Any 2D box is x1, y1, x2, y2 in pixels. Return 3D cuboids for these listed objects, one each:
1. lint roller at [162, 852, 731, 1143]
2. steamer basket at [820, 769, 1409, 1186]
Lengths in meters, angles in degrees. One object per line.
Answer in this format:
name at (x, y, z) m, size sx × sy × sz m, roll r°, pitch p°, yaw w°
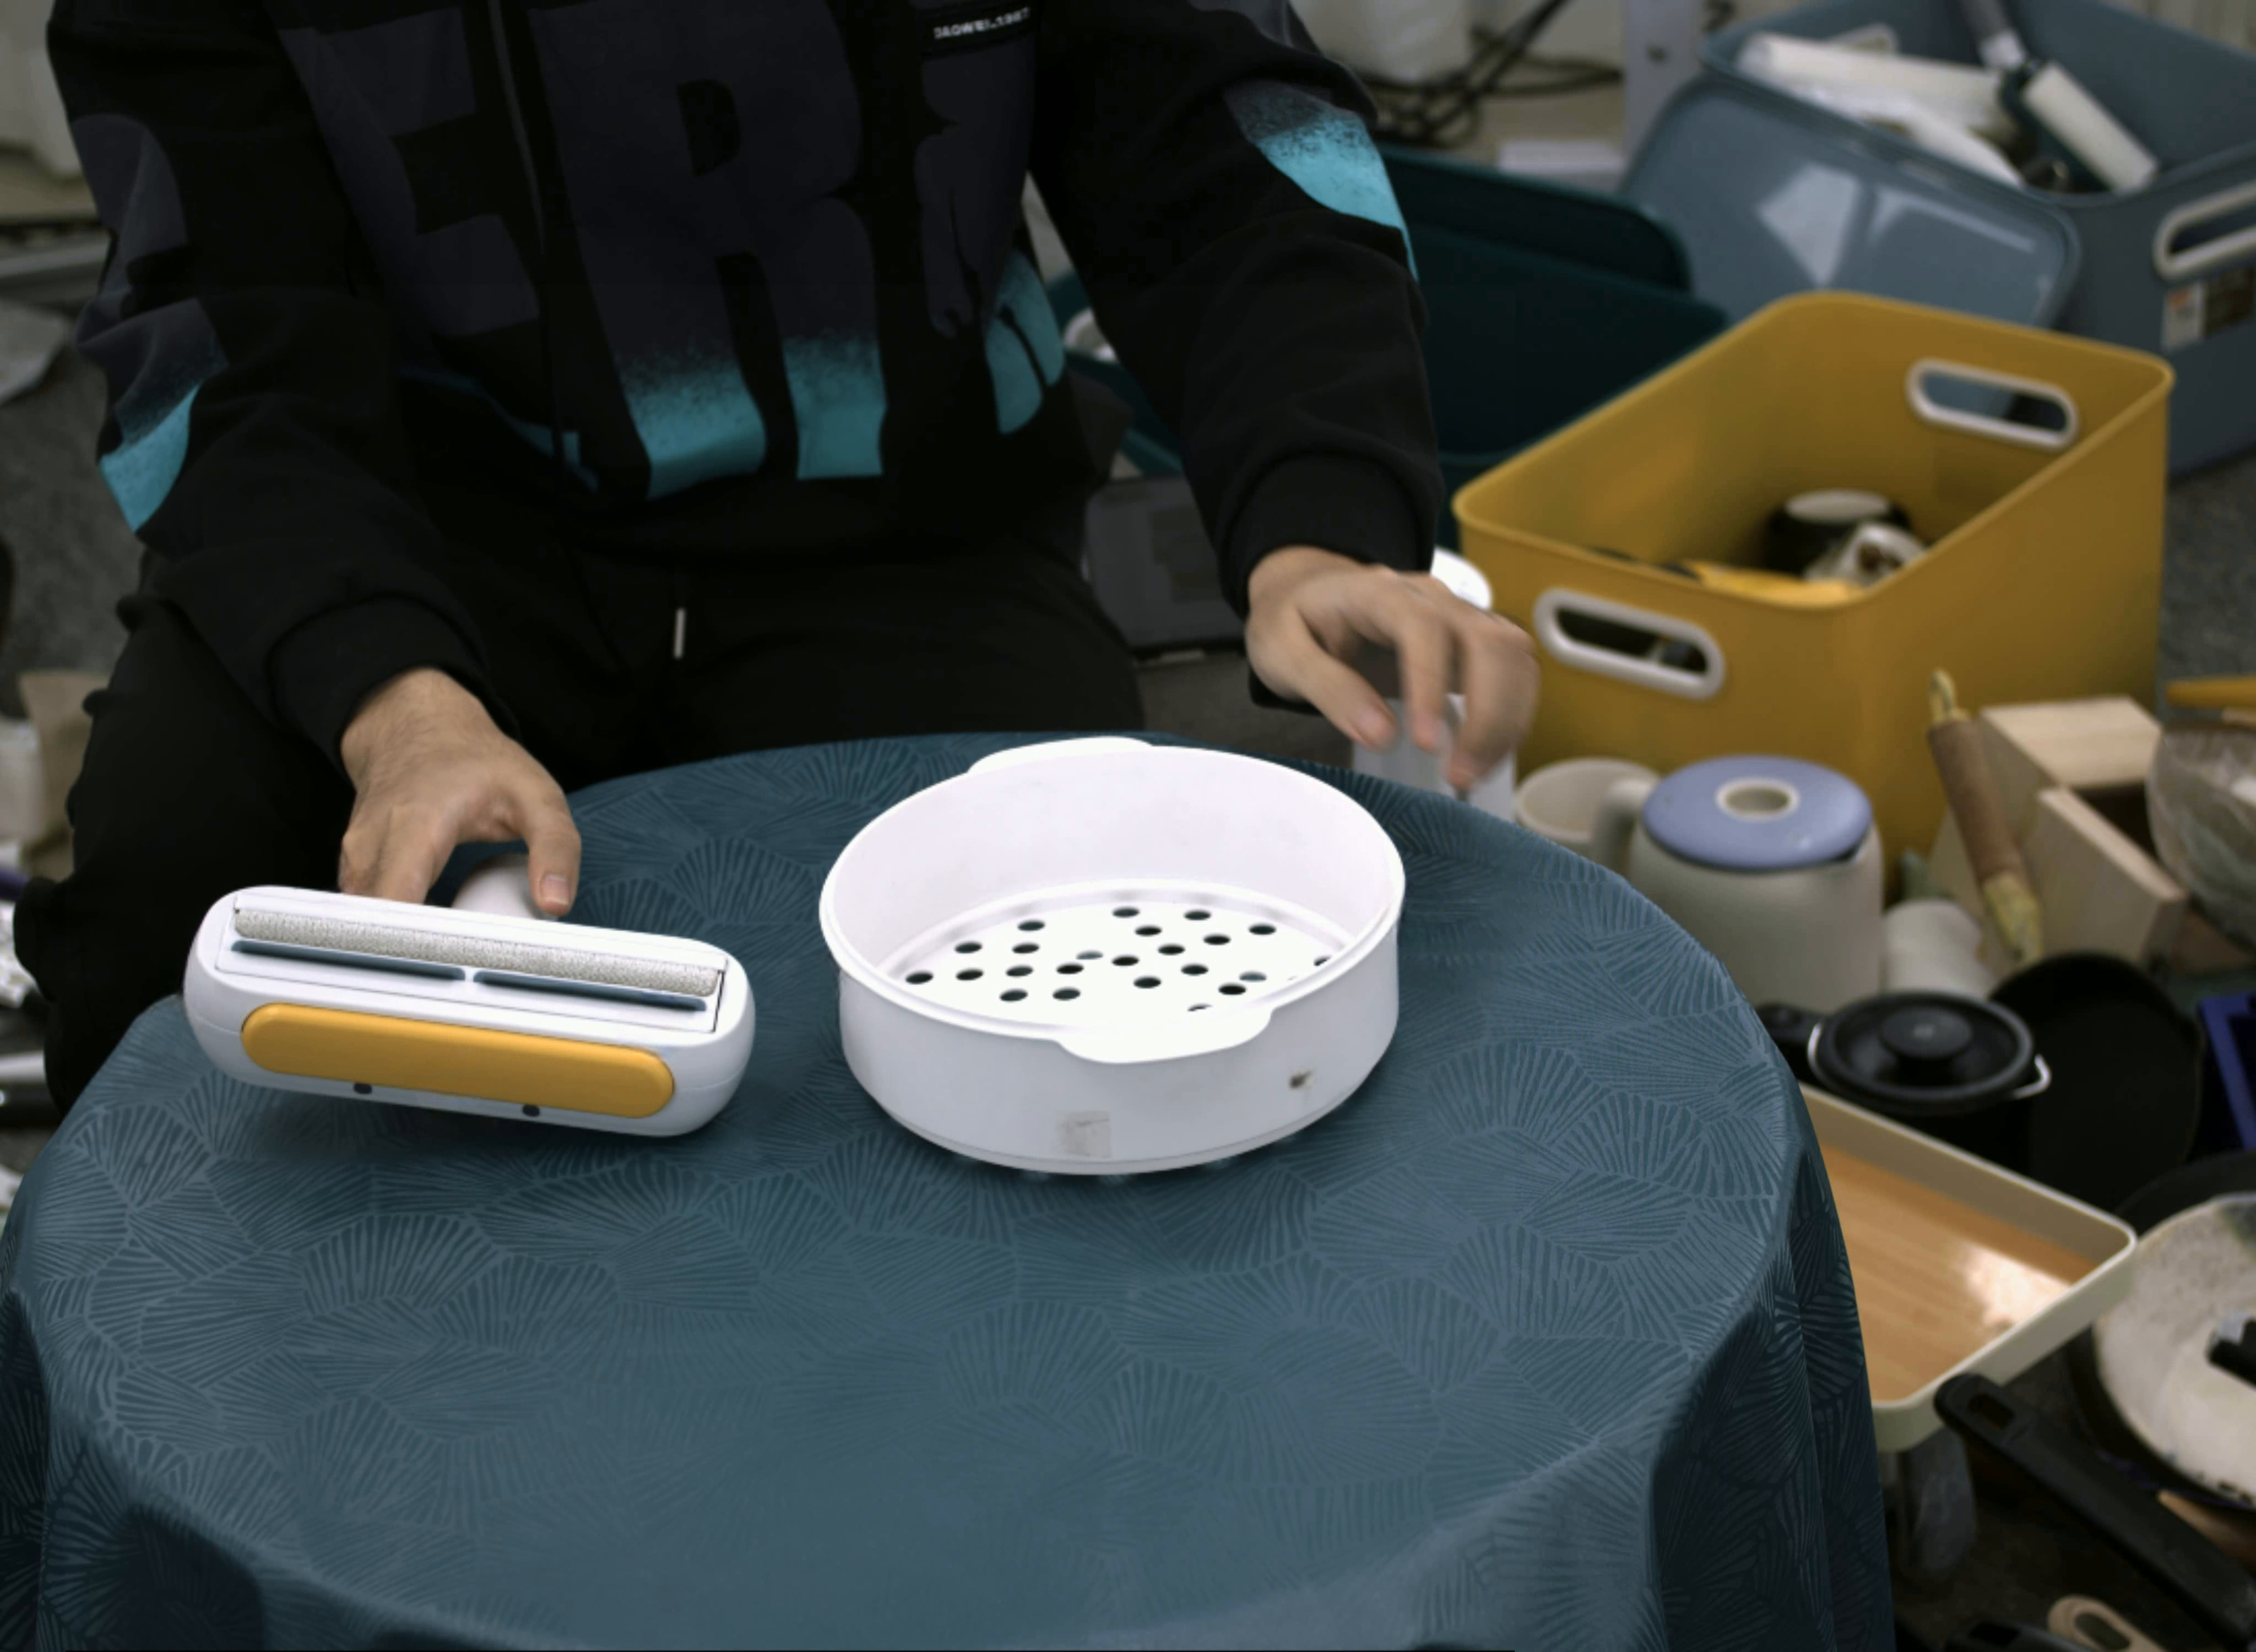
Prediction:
lint roller at (-0.226, 0.043, 1.960) m, size 0.192 × 0.073 × 0.195 m, roll 5°, pitch 26°, yaw 3°
steamer basket at (-0.004, 0.053, 1.927) m, size 0.201 × 0.068 × 0.233 m, roll -6°, pitch 25°, yaw -9°
